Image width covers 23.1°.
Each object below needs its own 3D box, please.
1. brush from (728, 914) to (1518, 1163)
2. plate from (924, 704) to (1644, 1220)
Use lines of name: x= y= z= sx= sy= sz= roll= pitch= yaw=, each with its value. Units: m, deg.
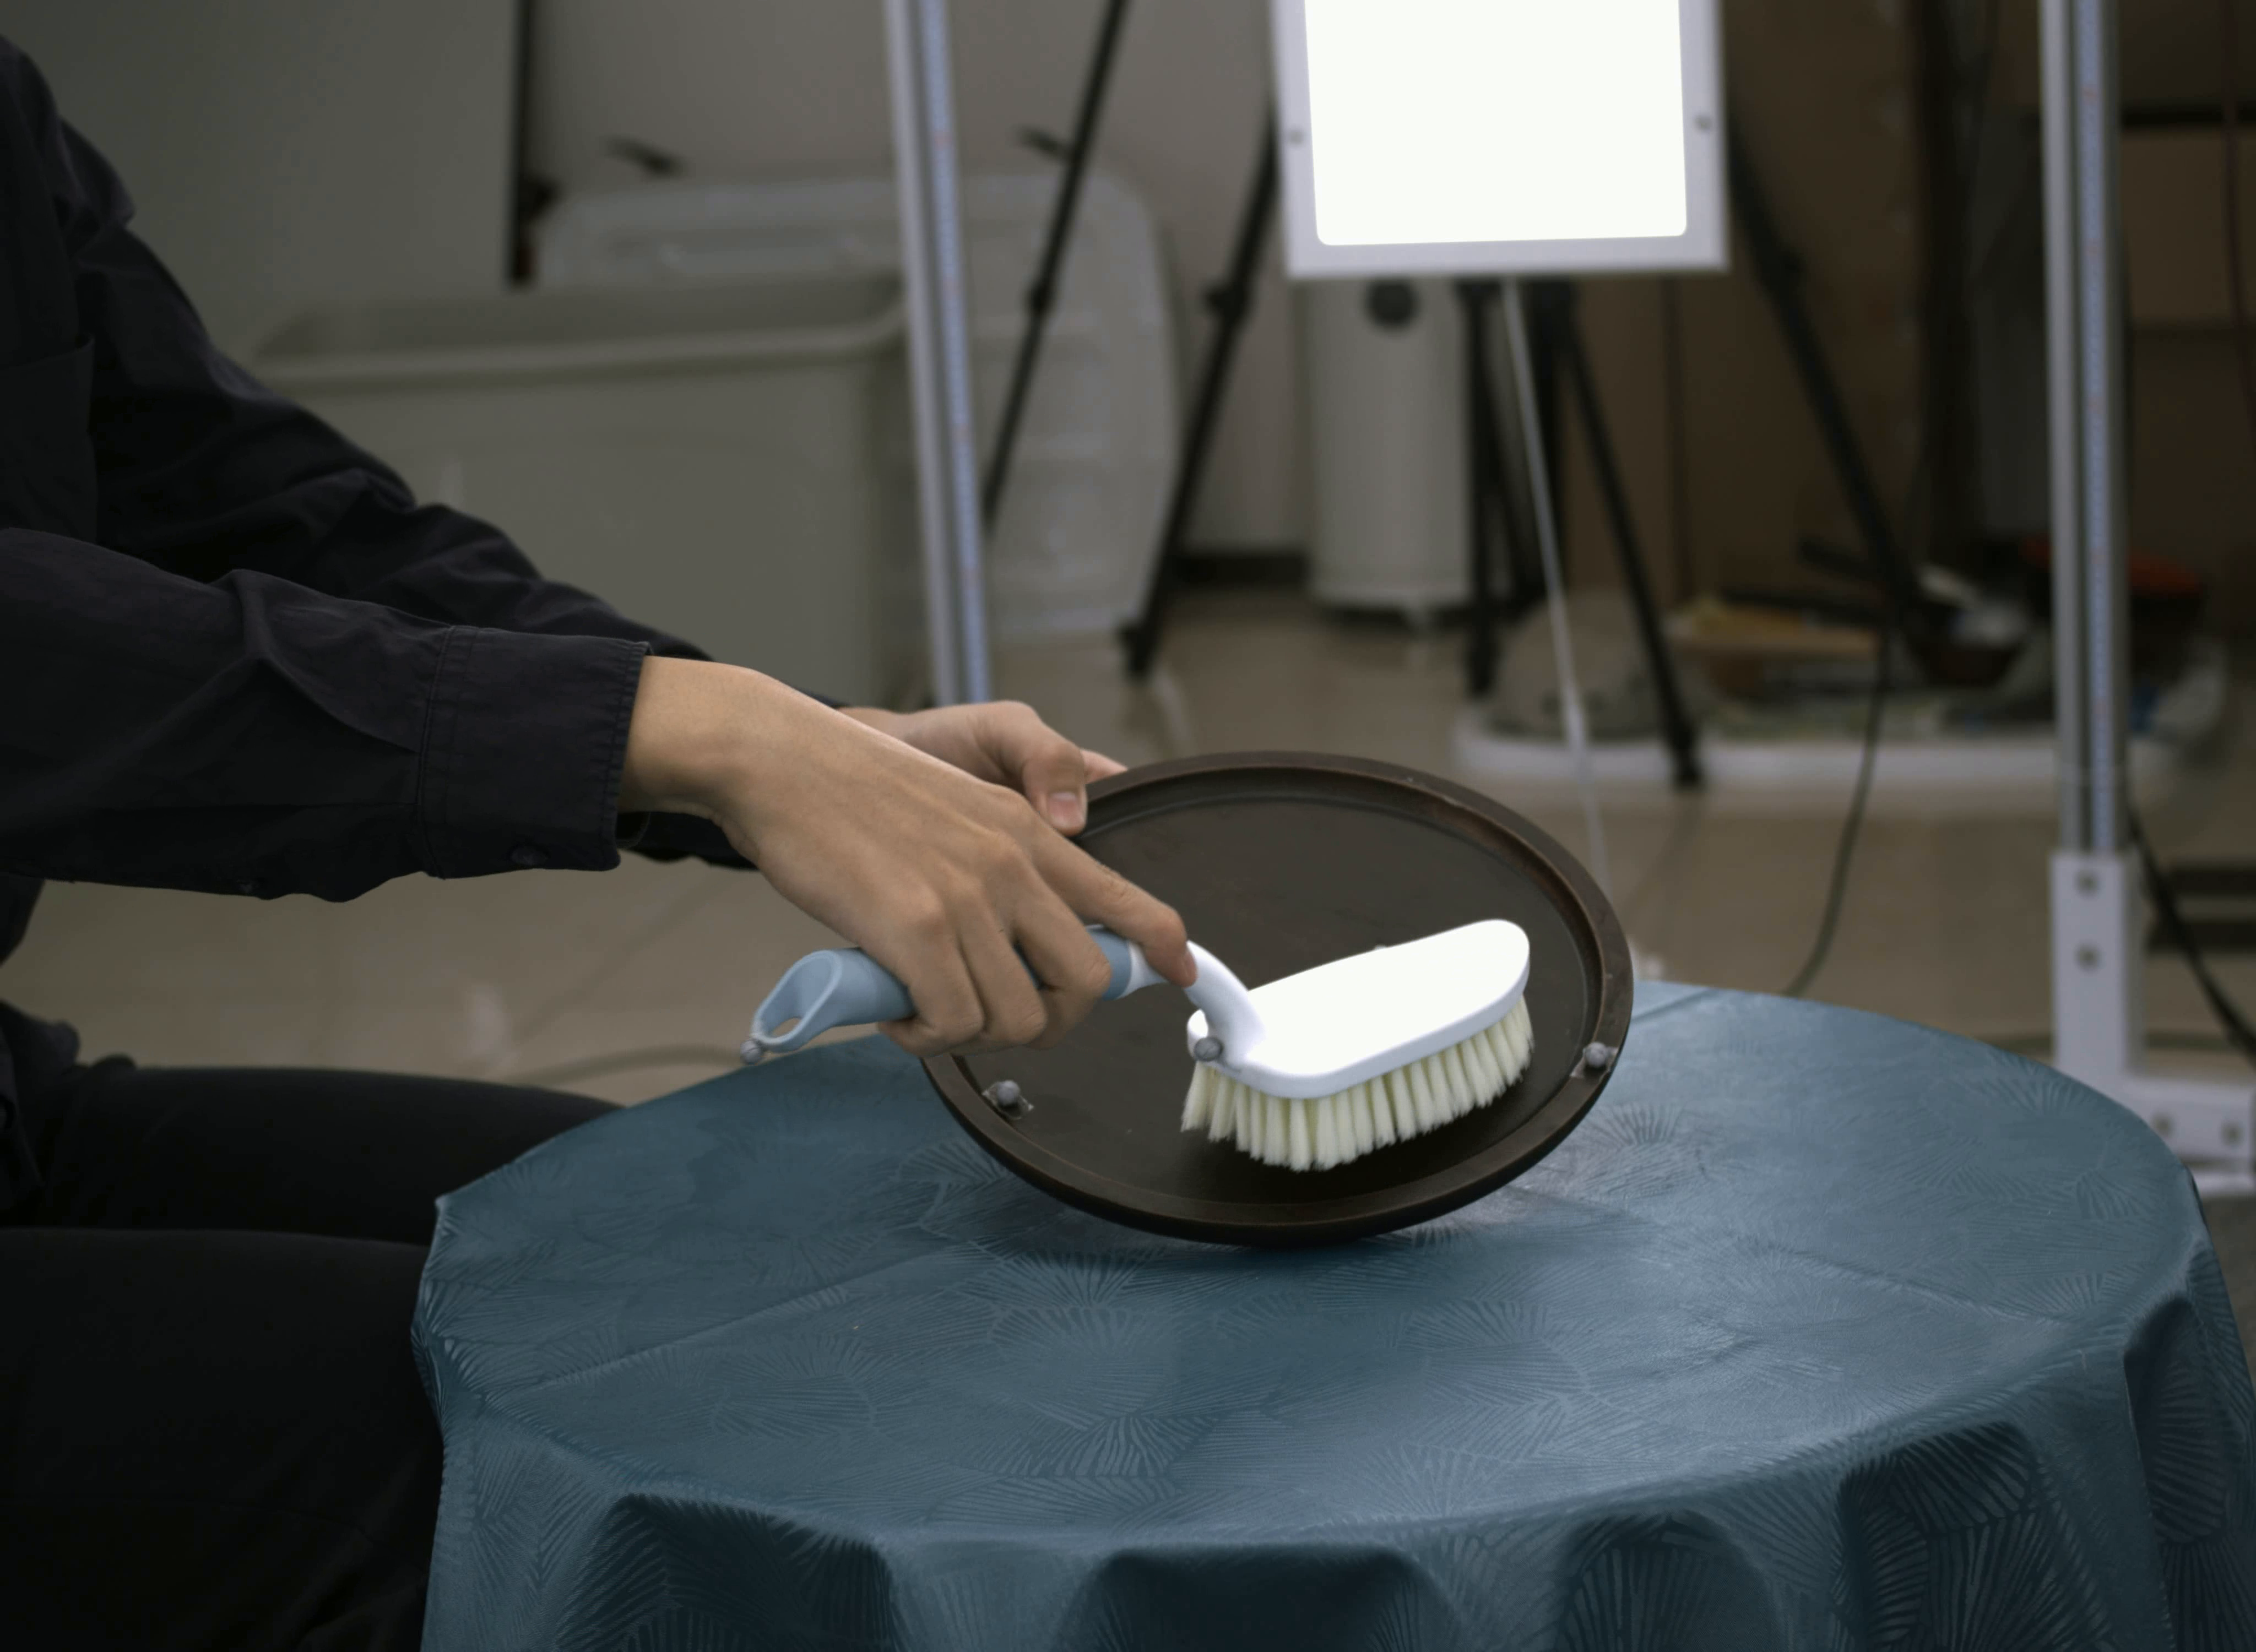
brush: x=0.000 y=0.077 z=1.786 sx=0.317 sy=0.085 sz=0.085 roll=-4 pitch=-19 yaw=-38
plate: x=0.054 y=0.048 z=1.919 sx=0.254 sy=0.029 sz=0.254 roll=-4 pitch=41 yaw=2
